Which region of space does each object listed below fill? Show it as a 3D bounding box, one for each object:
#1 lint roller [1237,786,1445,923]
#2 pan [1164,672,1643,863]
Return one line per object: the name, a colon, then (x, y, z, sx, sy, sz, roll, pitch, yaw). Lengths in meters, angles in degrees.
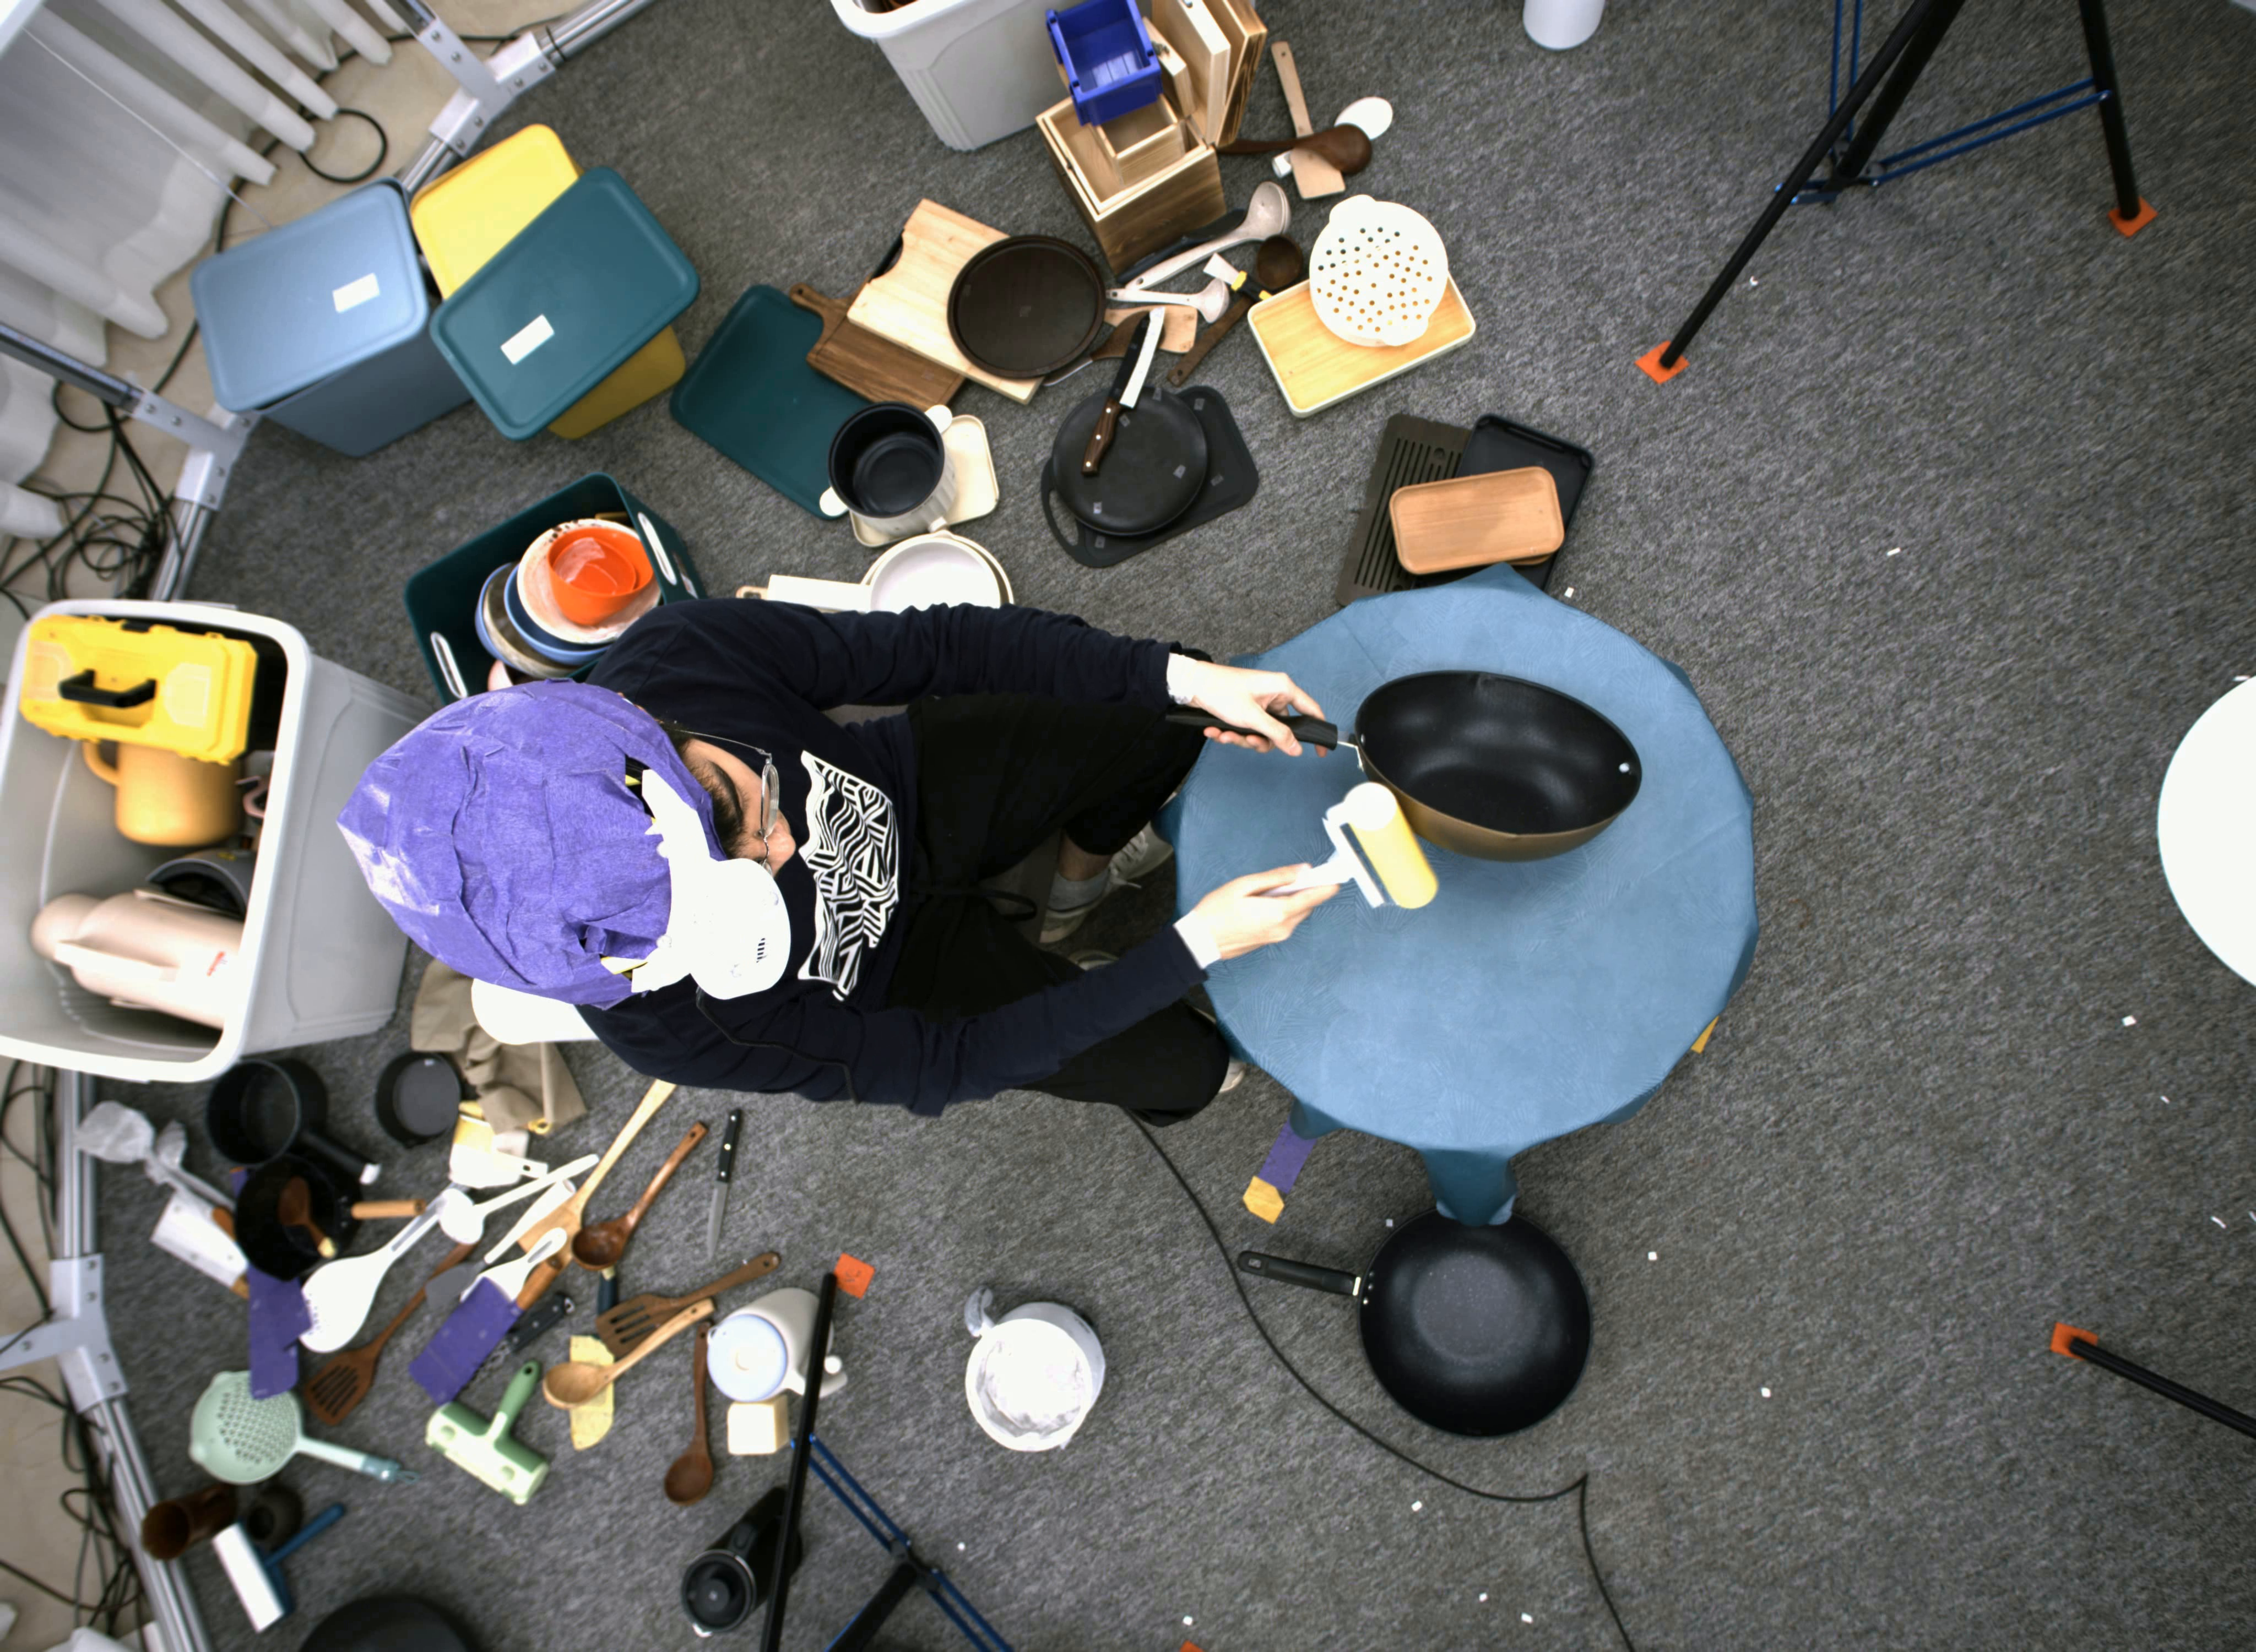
lint roller: (0.195, 0.055, 1.325, 0.194, 0.176, 0.050, -31, 52, 12)
pan: (0.264, -0.060, 1.356, 0.464, 0.280, 0.089, 6, 128, 3)
